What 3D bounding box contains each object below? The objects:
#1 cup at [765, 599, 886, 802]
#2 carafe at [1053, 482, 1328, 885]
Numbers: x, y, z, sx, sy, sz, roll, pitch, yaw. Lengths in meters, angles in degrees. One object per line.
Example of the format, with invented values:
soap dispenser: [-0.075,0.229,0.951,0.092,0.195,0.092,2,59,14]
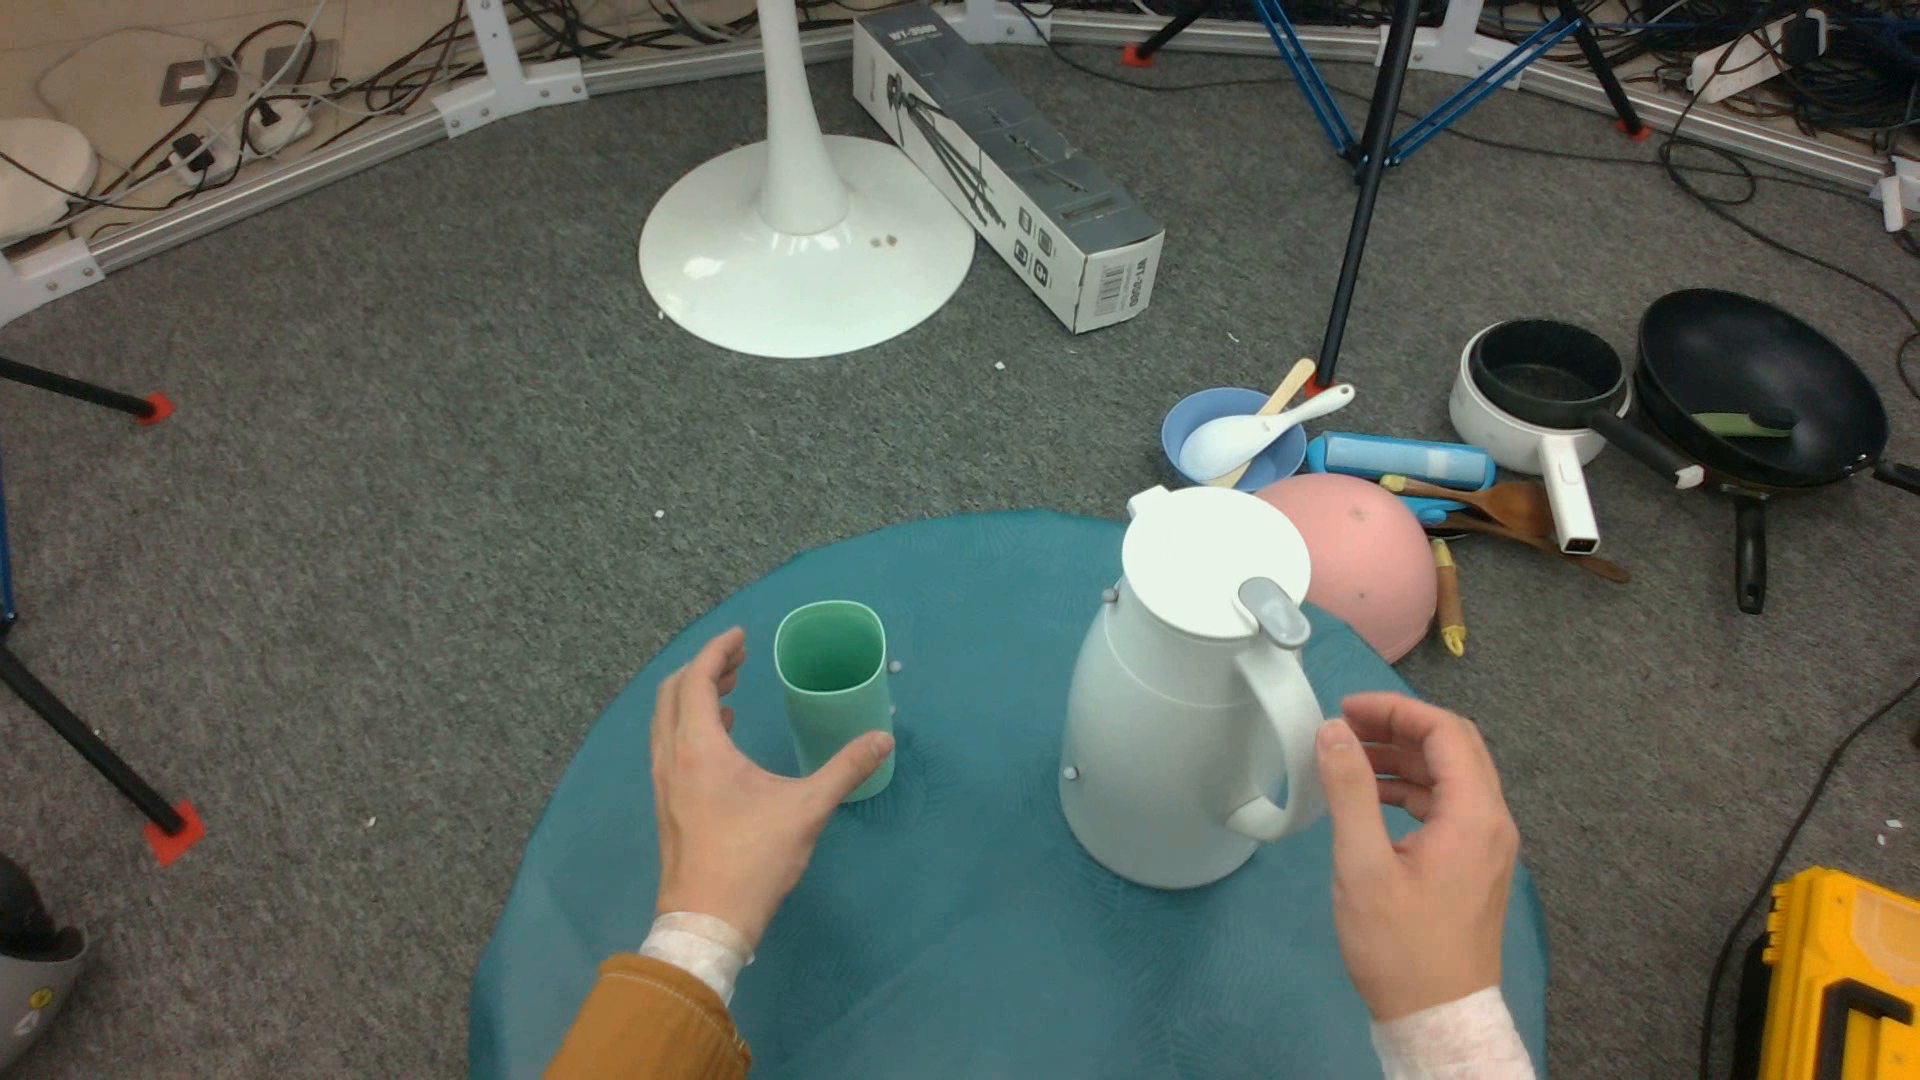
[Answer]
cup: [-0.078,0.099,0.821,0.067,0.131,0.067,0,51,0]
carafe: [0.133,0.090,0.750,0.133,0.247,0.168,-24,56,-18]
